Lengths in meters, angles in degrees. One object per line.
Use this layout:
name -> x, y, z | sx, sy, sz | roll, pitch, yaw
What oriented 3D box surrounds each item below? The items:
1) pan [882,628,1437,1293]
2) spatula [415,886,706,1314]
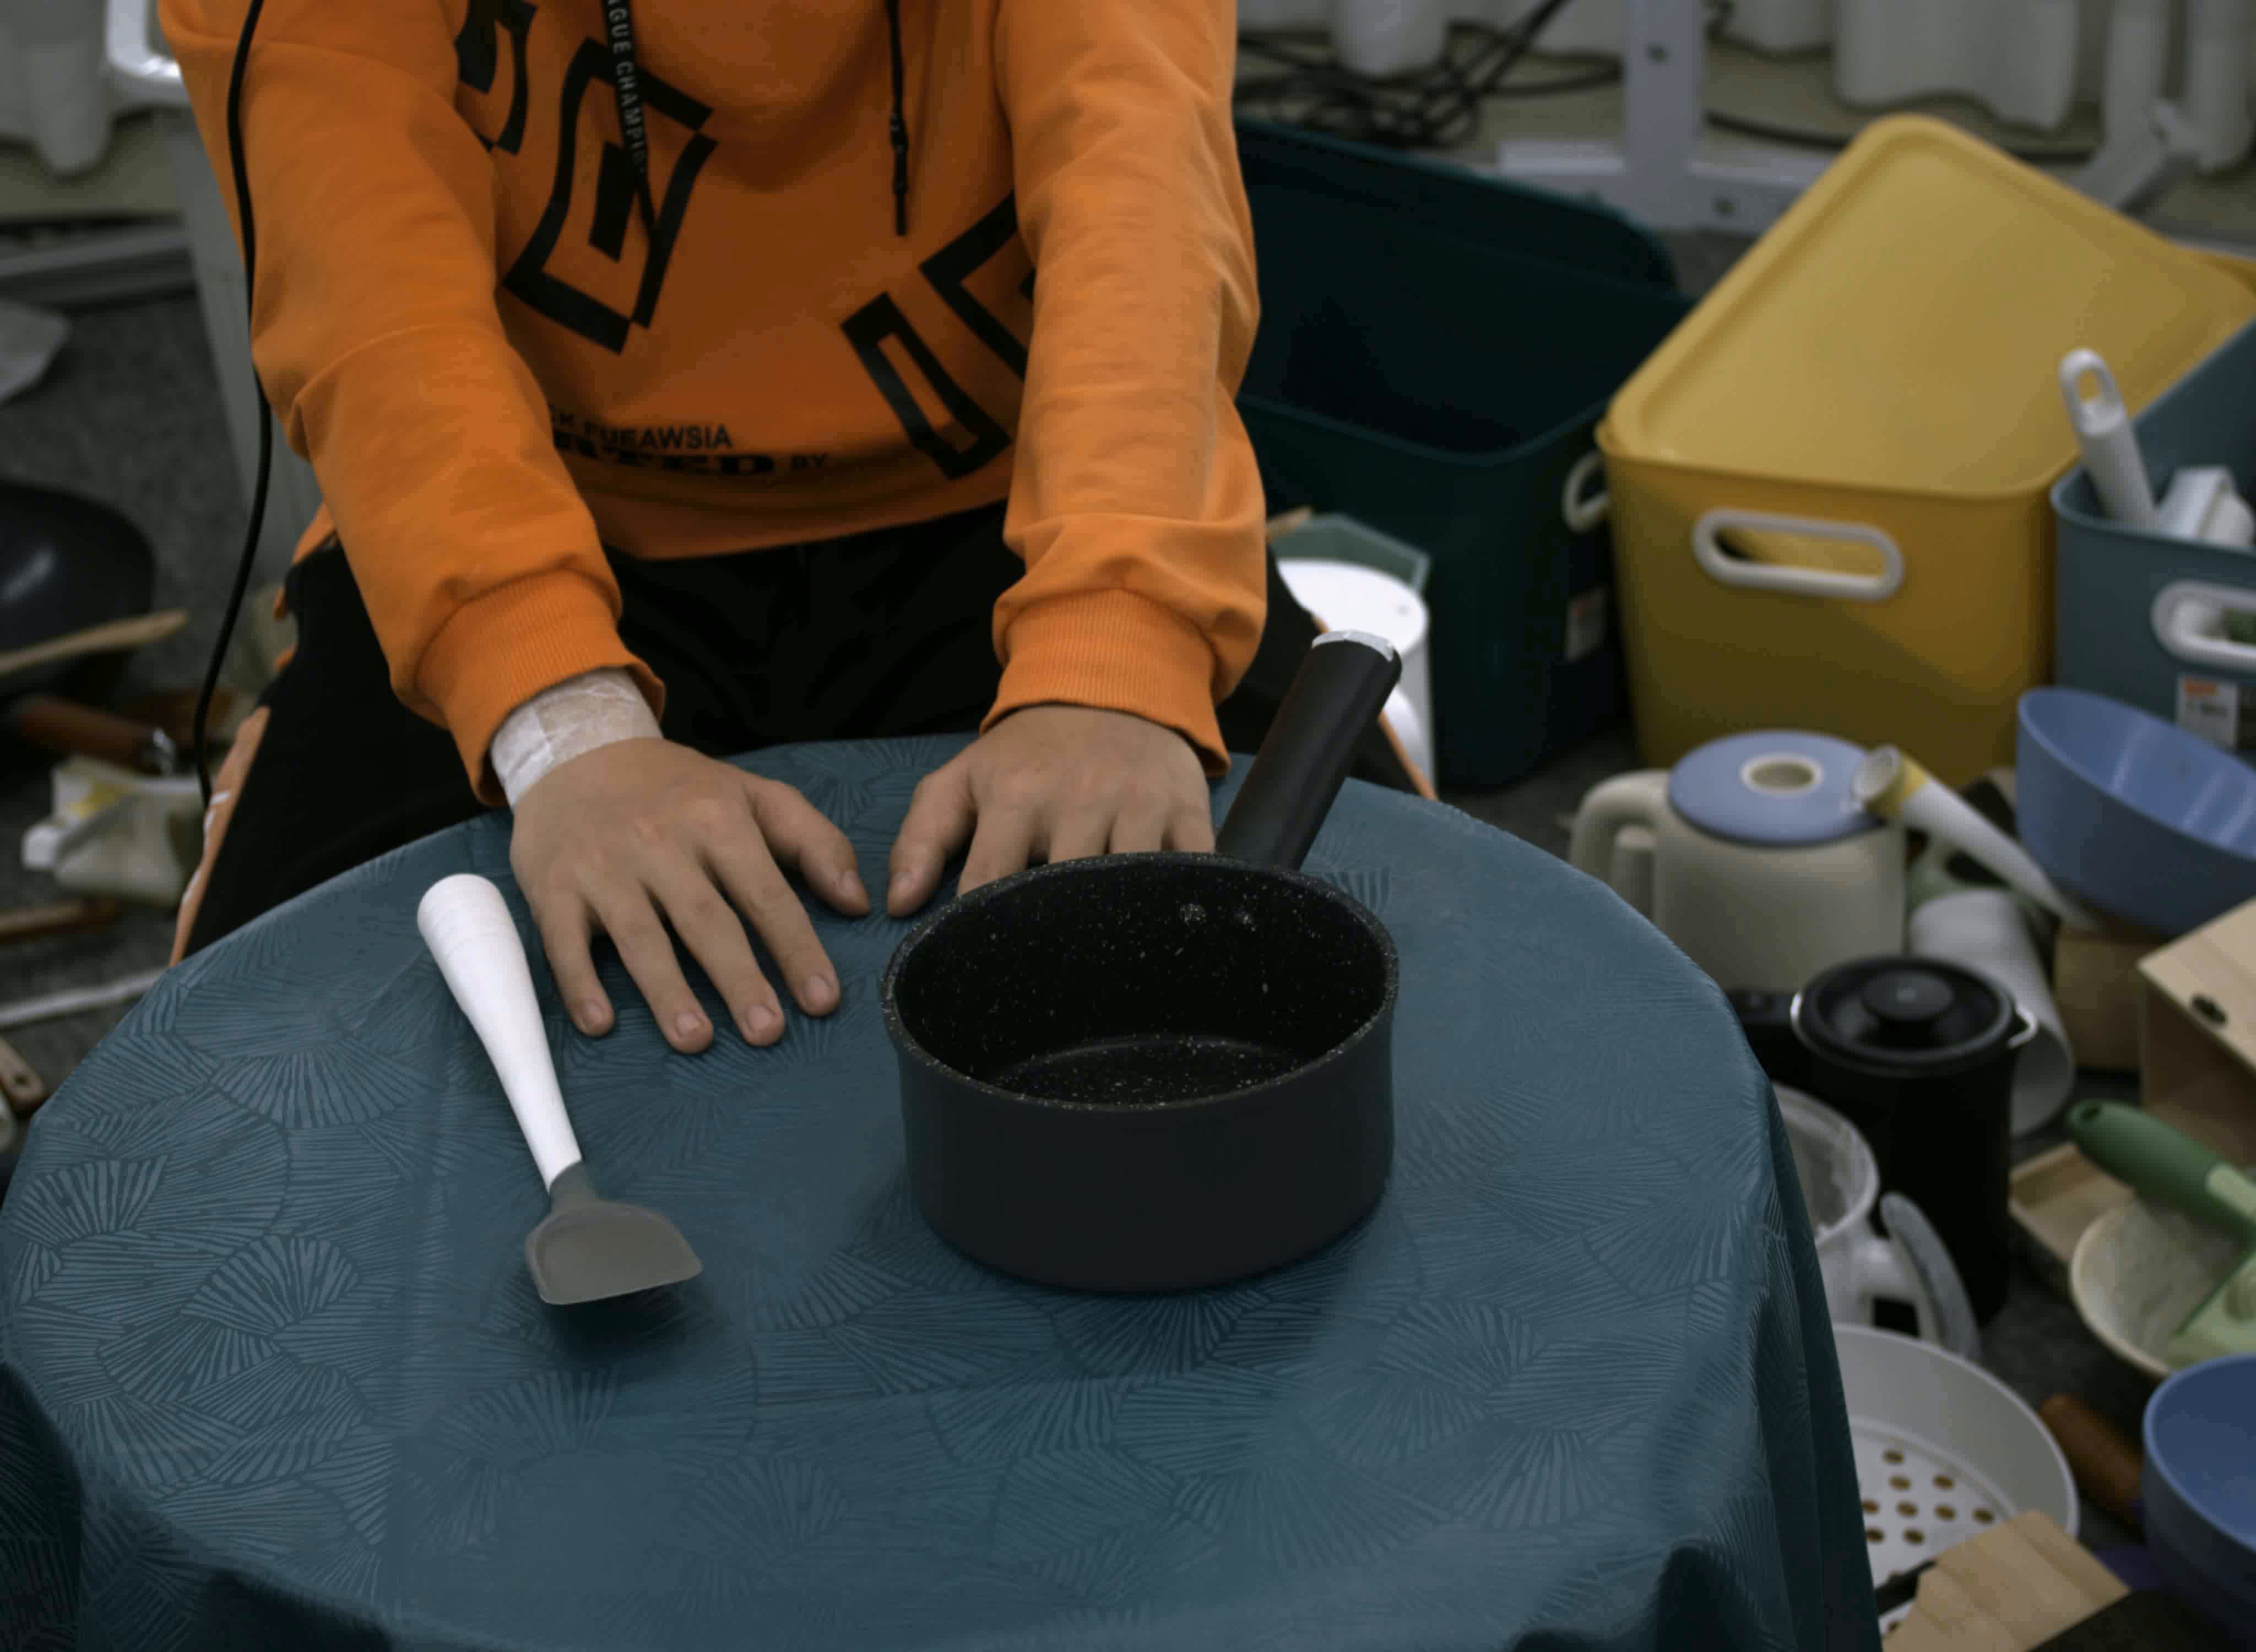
pan -> 0.035, 0.042, 1.920 | 0.171, 0.085, 0.334 | 8, 31, 20
spatula -> -0.198, 0.096, 1.897 | 0.059, 0.032, 0.290 | -7, 27, -15
